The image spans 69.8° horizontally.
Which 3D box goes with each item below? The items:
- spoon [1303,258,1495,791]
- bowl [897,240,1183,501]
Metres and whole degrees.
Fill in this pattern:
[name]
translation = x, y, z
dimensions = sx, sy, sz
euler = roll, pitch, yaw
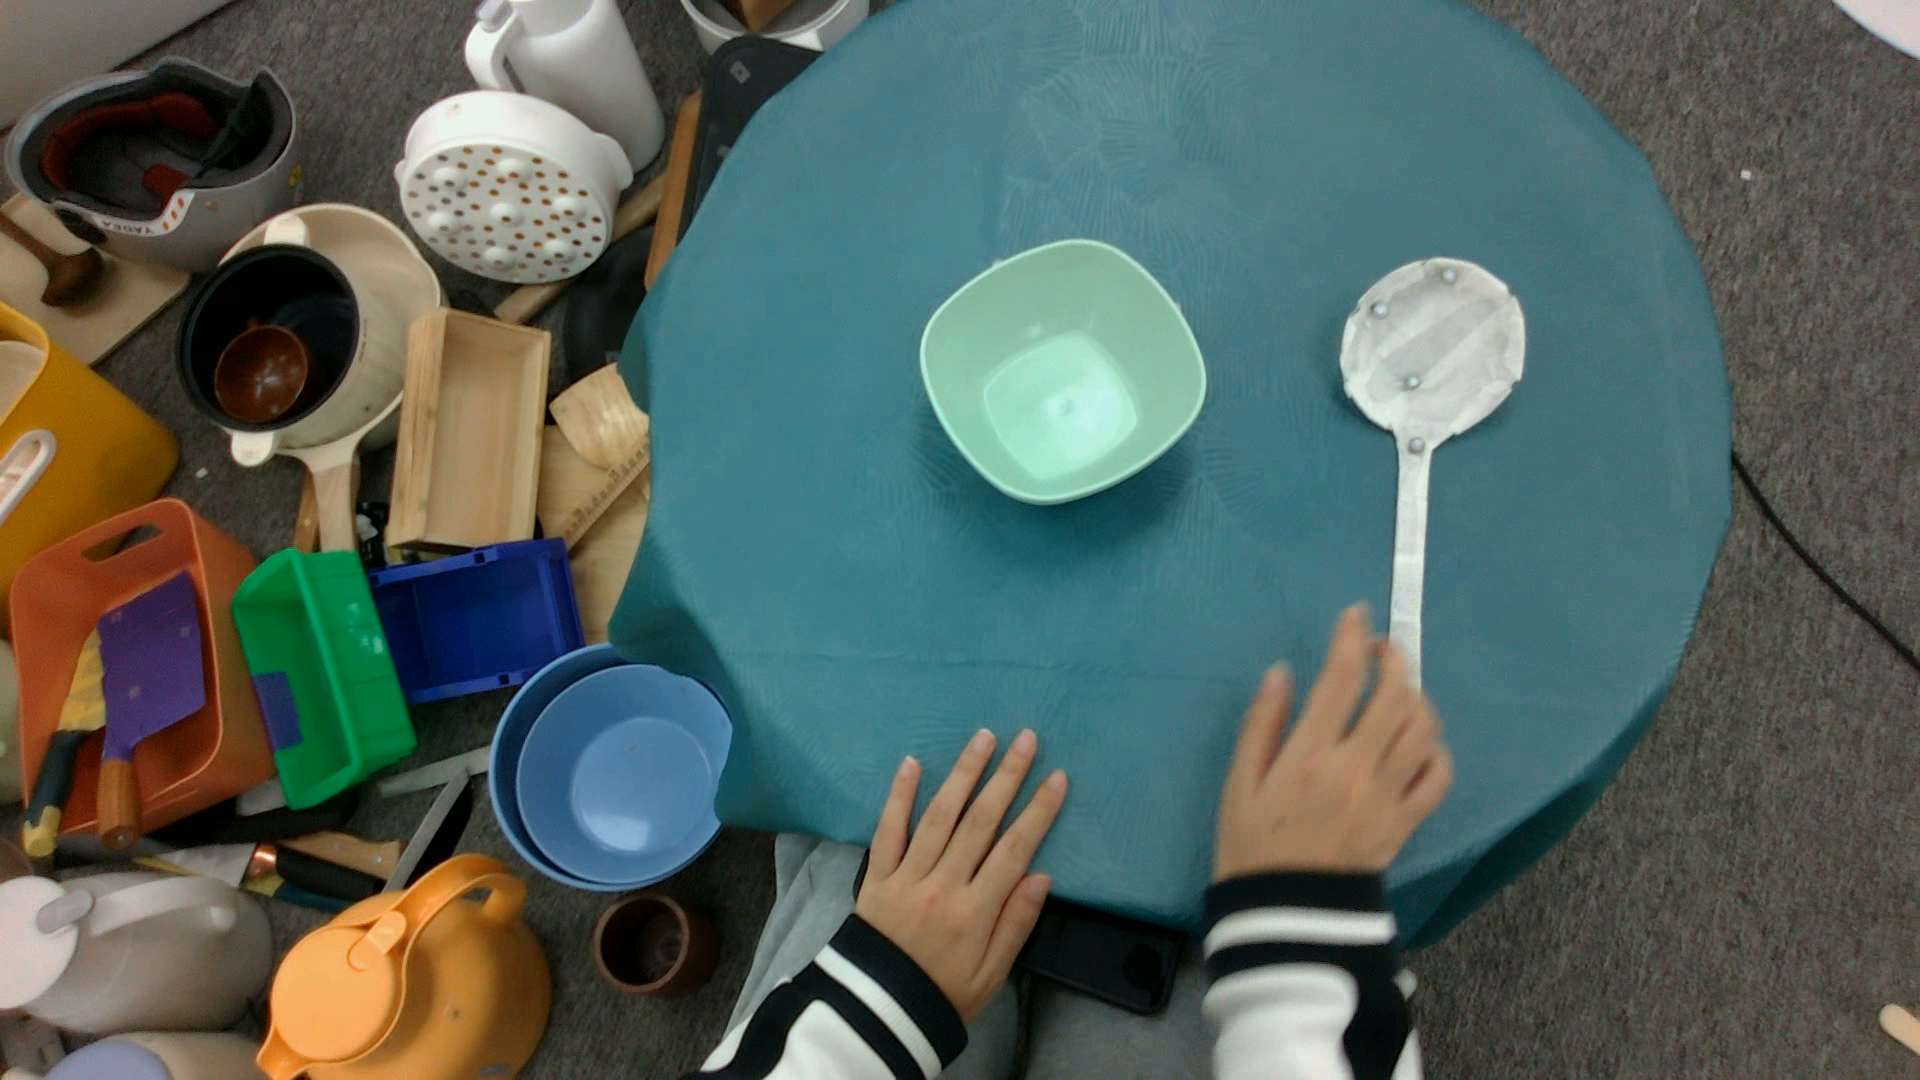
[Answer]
[spoon]
translation = 0.216, -0.012, 0.710
dimensions = 0.100, 0.059, 0.278
euler = 9, 71, 10
[bowl]
translation = 0.042, -0.083, 0.743
dimensions = 0.151, 0.058, 0.152
euler = -1, 70, 2
